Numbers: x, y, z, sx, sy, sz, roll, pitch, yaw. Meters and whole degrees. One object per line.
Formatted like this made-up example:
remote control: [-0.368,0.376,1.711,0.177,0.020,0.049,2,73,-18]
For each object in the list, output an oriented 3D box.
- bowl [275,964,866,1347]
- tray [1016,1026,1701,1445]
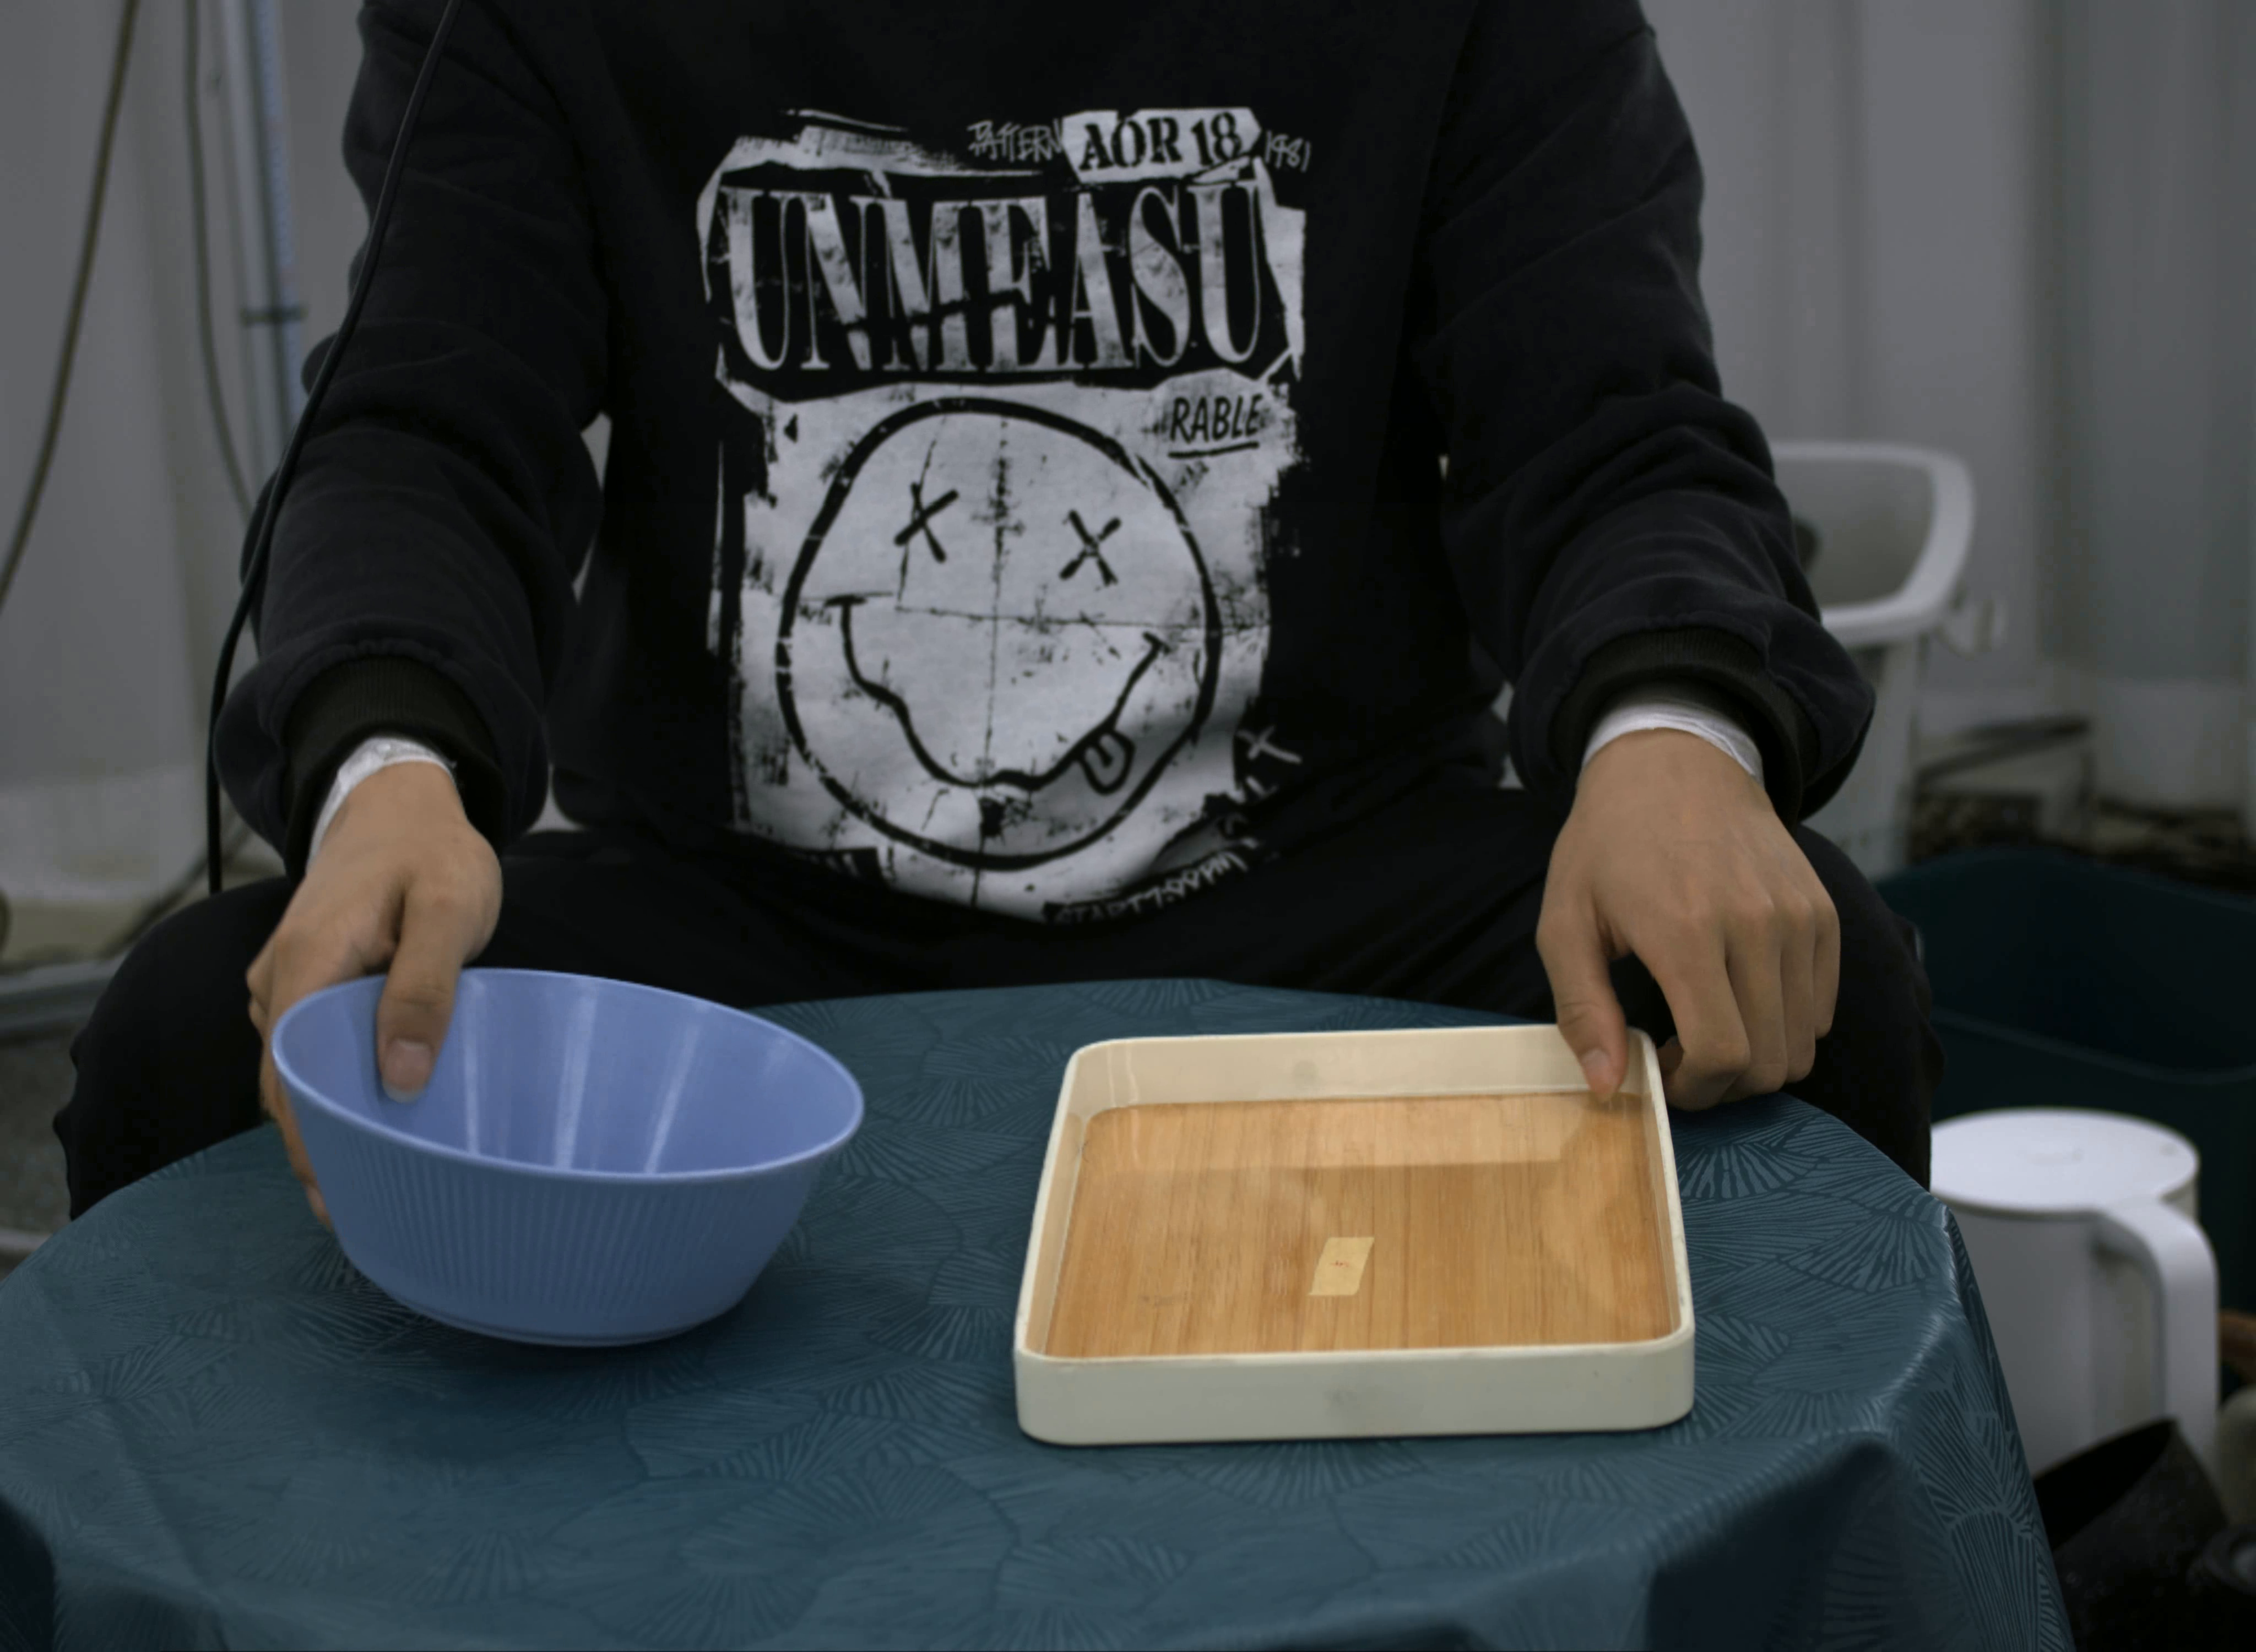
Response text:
bowl: [-0.168,0.102,1.625,0.175,0.070,0.177,7,17,-2]
tray: [0.069,0.119,1.637,0.191,0.027,0.302,-2,15,3]
